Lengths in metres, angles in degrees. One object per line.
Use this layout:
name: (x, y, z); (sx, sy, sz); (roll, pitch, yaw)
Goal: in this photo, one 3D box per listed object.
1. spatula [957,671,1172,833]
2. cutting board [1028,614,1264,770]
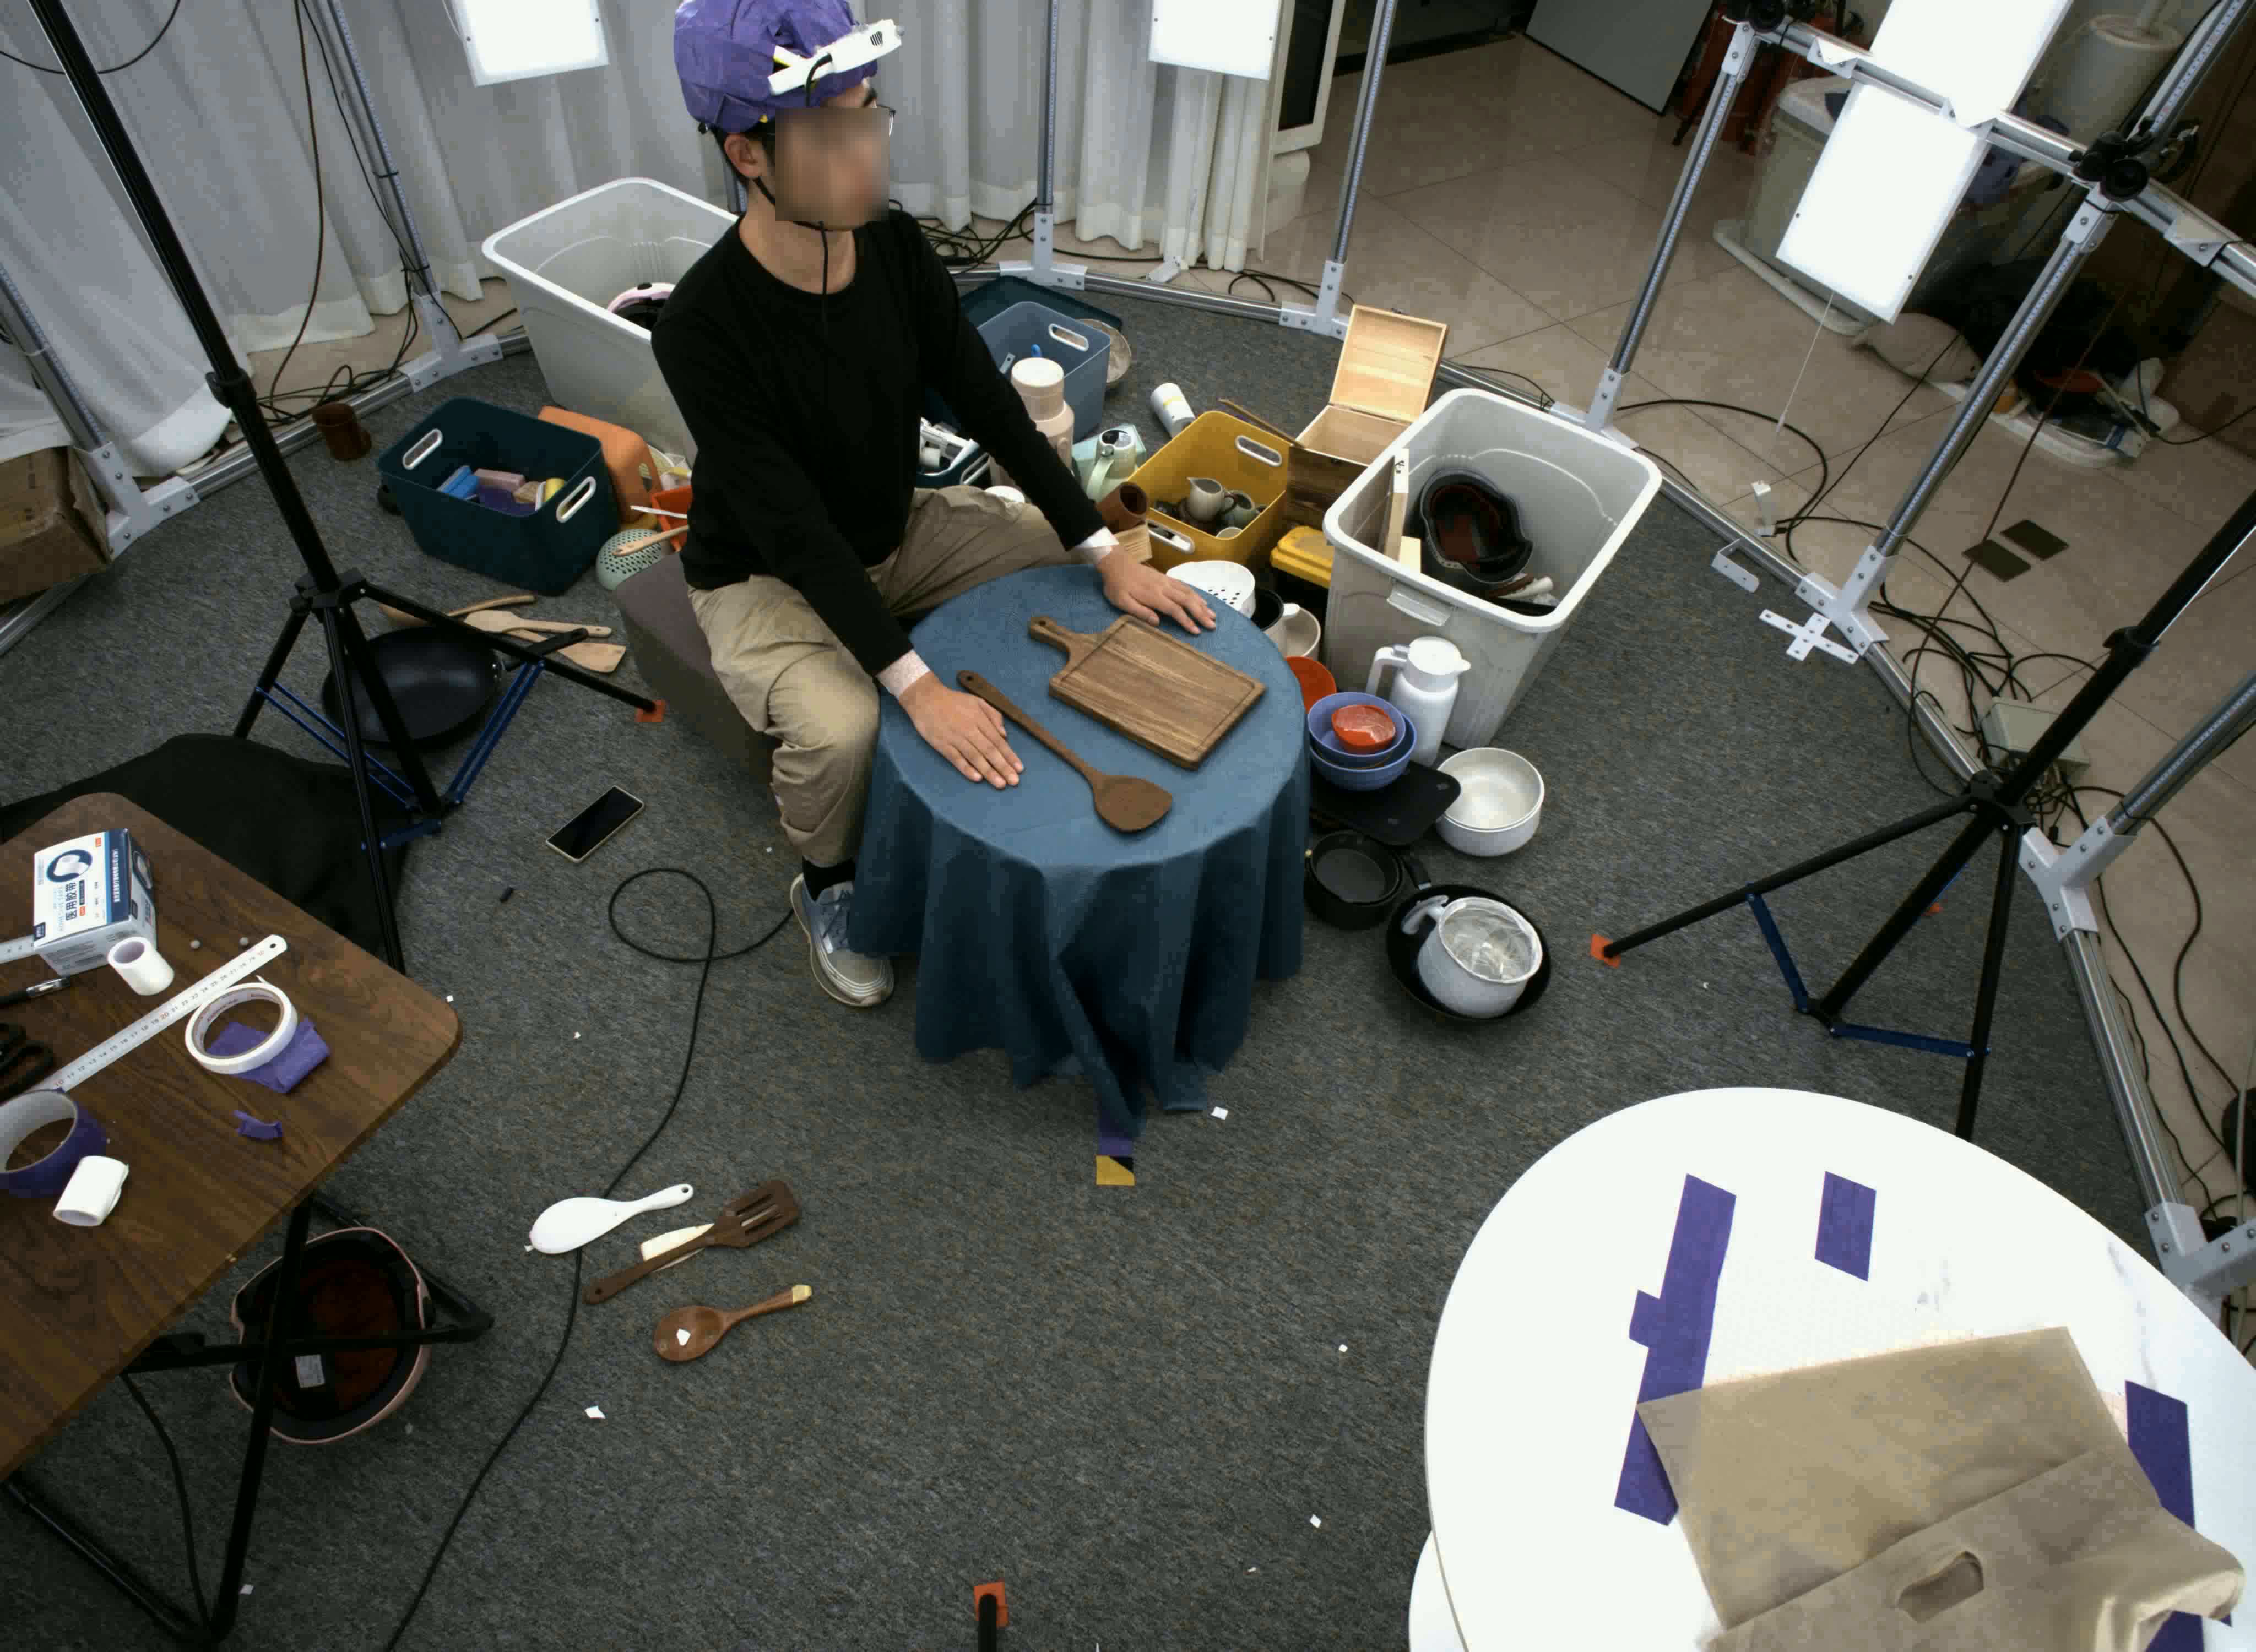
spatula: (-0.102, -0.112, 1.751); (0.391, 0.015, 0.097); (38, 56, 26)
cutting board: (0.001, -0.221, 1.848); (0.356, 0.022, 0.204); (29, 53, 20)
